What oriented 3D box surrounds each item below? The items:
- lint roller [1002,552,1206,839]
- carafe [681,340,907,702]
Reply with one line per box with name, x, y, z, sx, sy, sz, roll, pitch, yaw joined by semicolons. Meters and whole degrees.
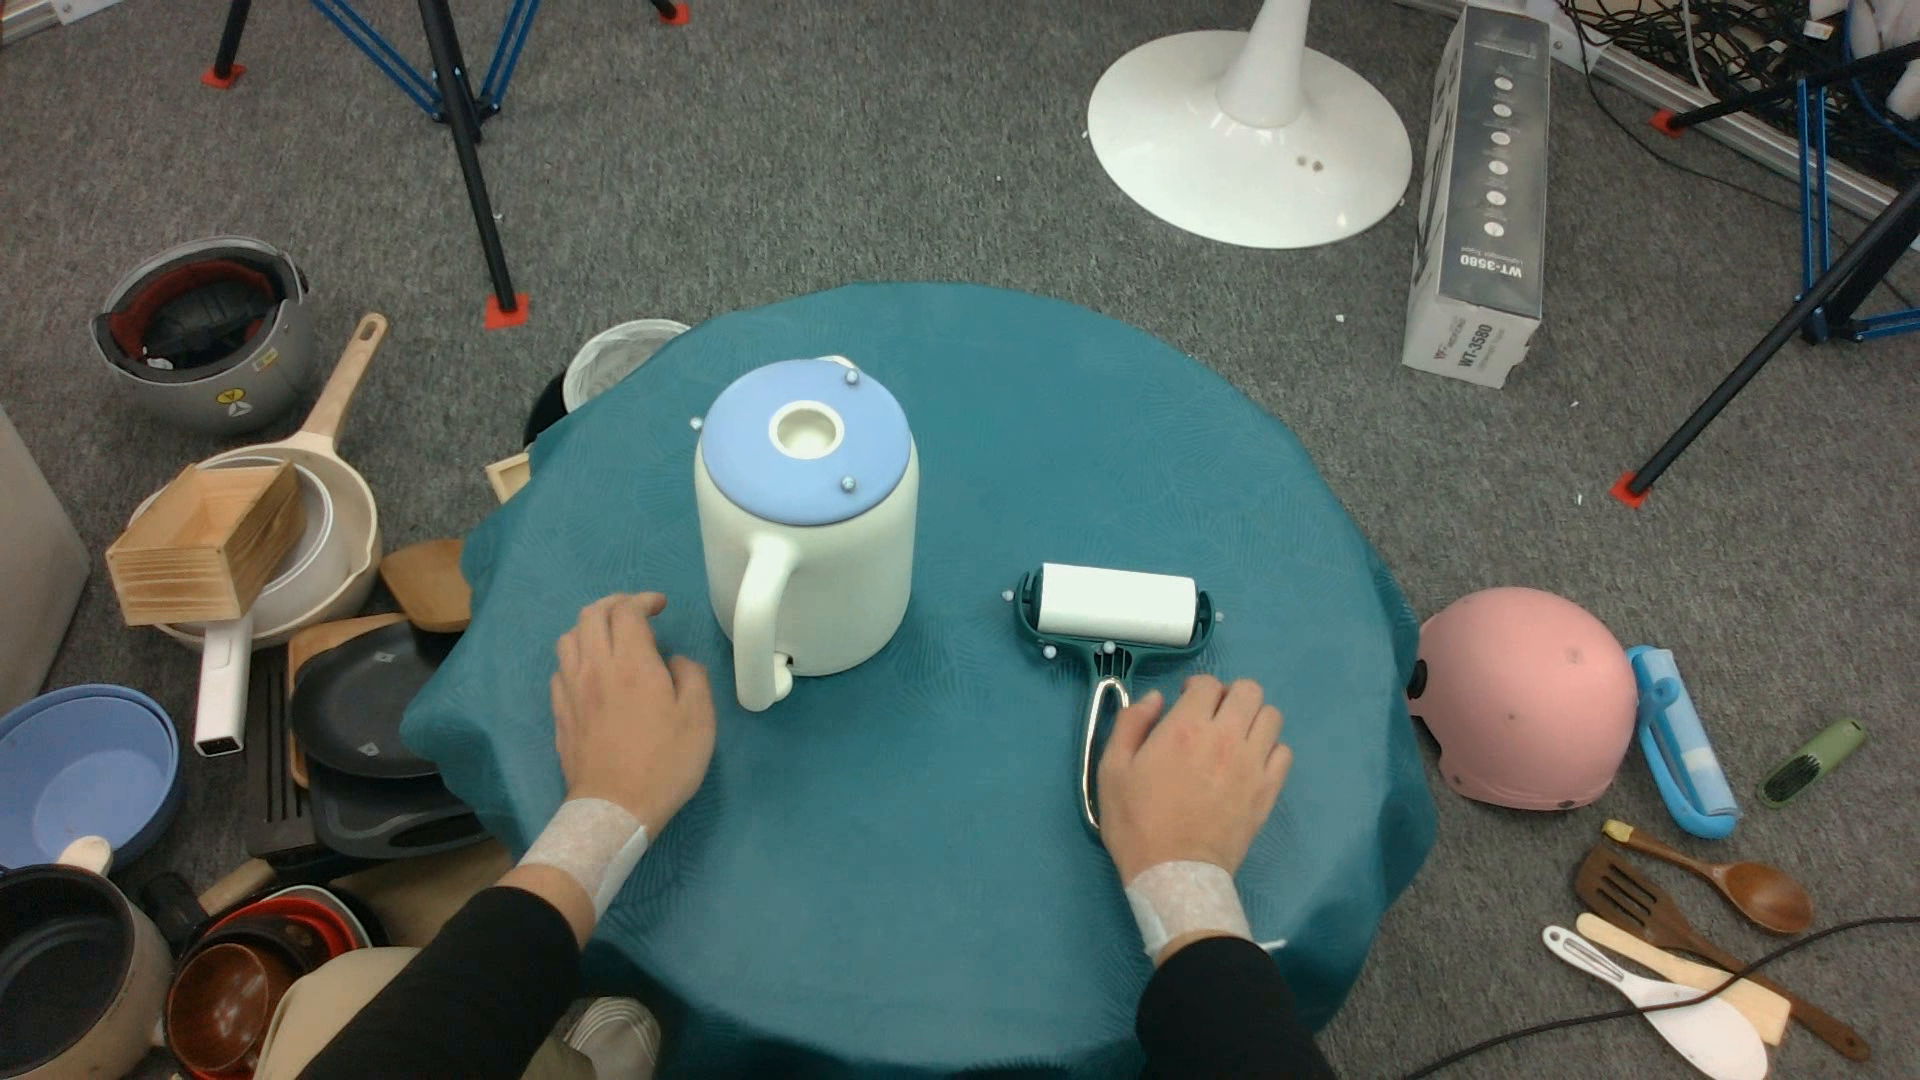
lint roller;0.088;0.094;0.865;0.134;0.048;0.181;6;59;-2
carafe;-0.105;0.001;0.828;0.132;0.181;0.192;11;57;3
